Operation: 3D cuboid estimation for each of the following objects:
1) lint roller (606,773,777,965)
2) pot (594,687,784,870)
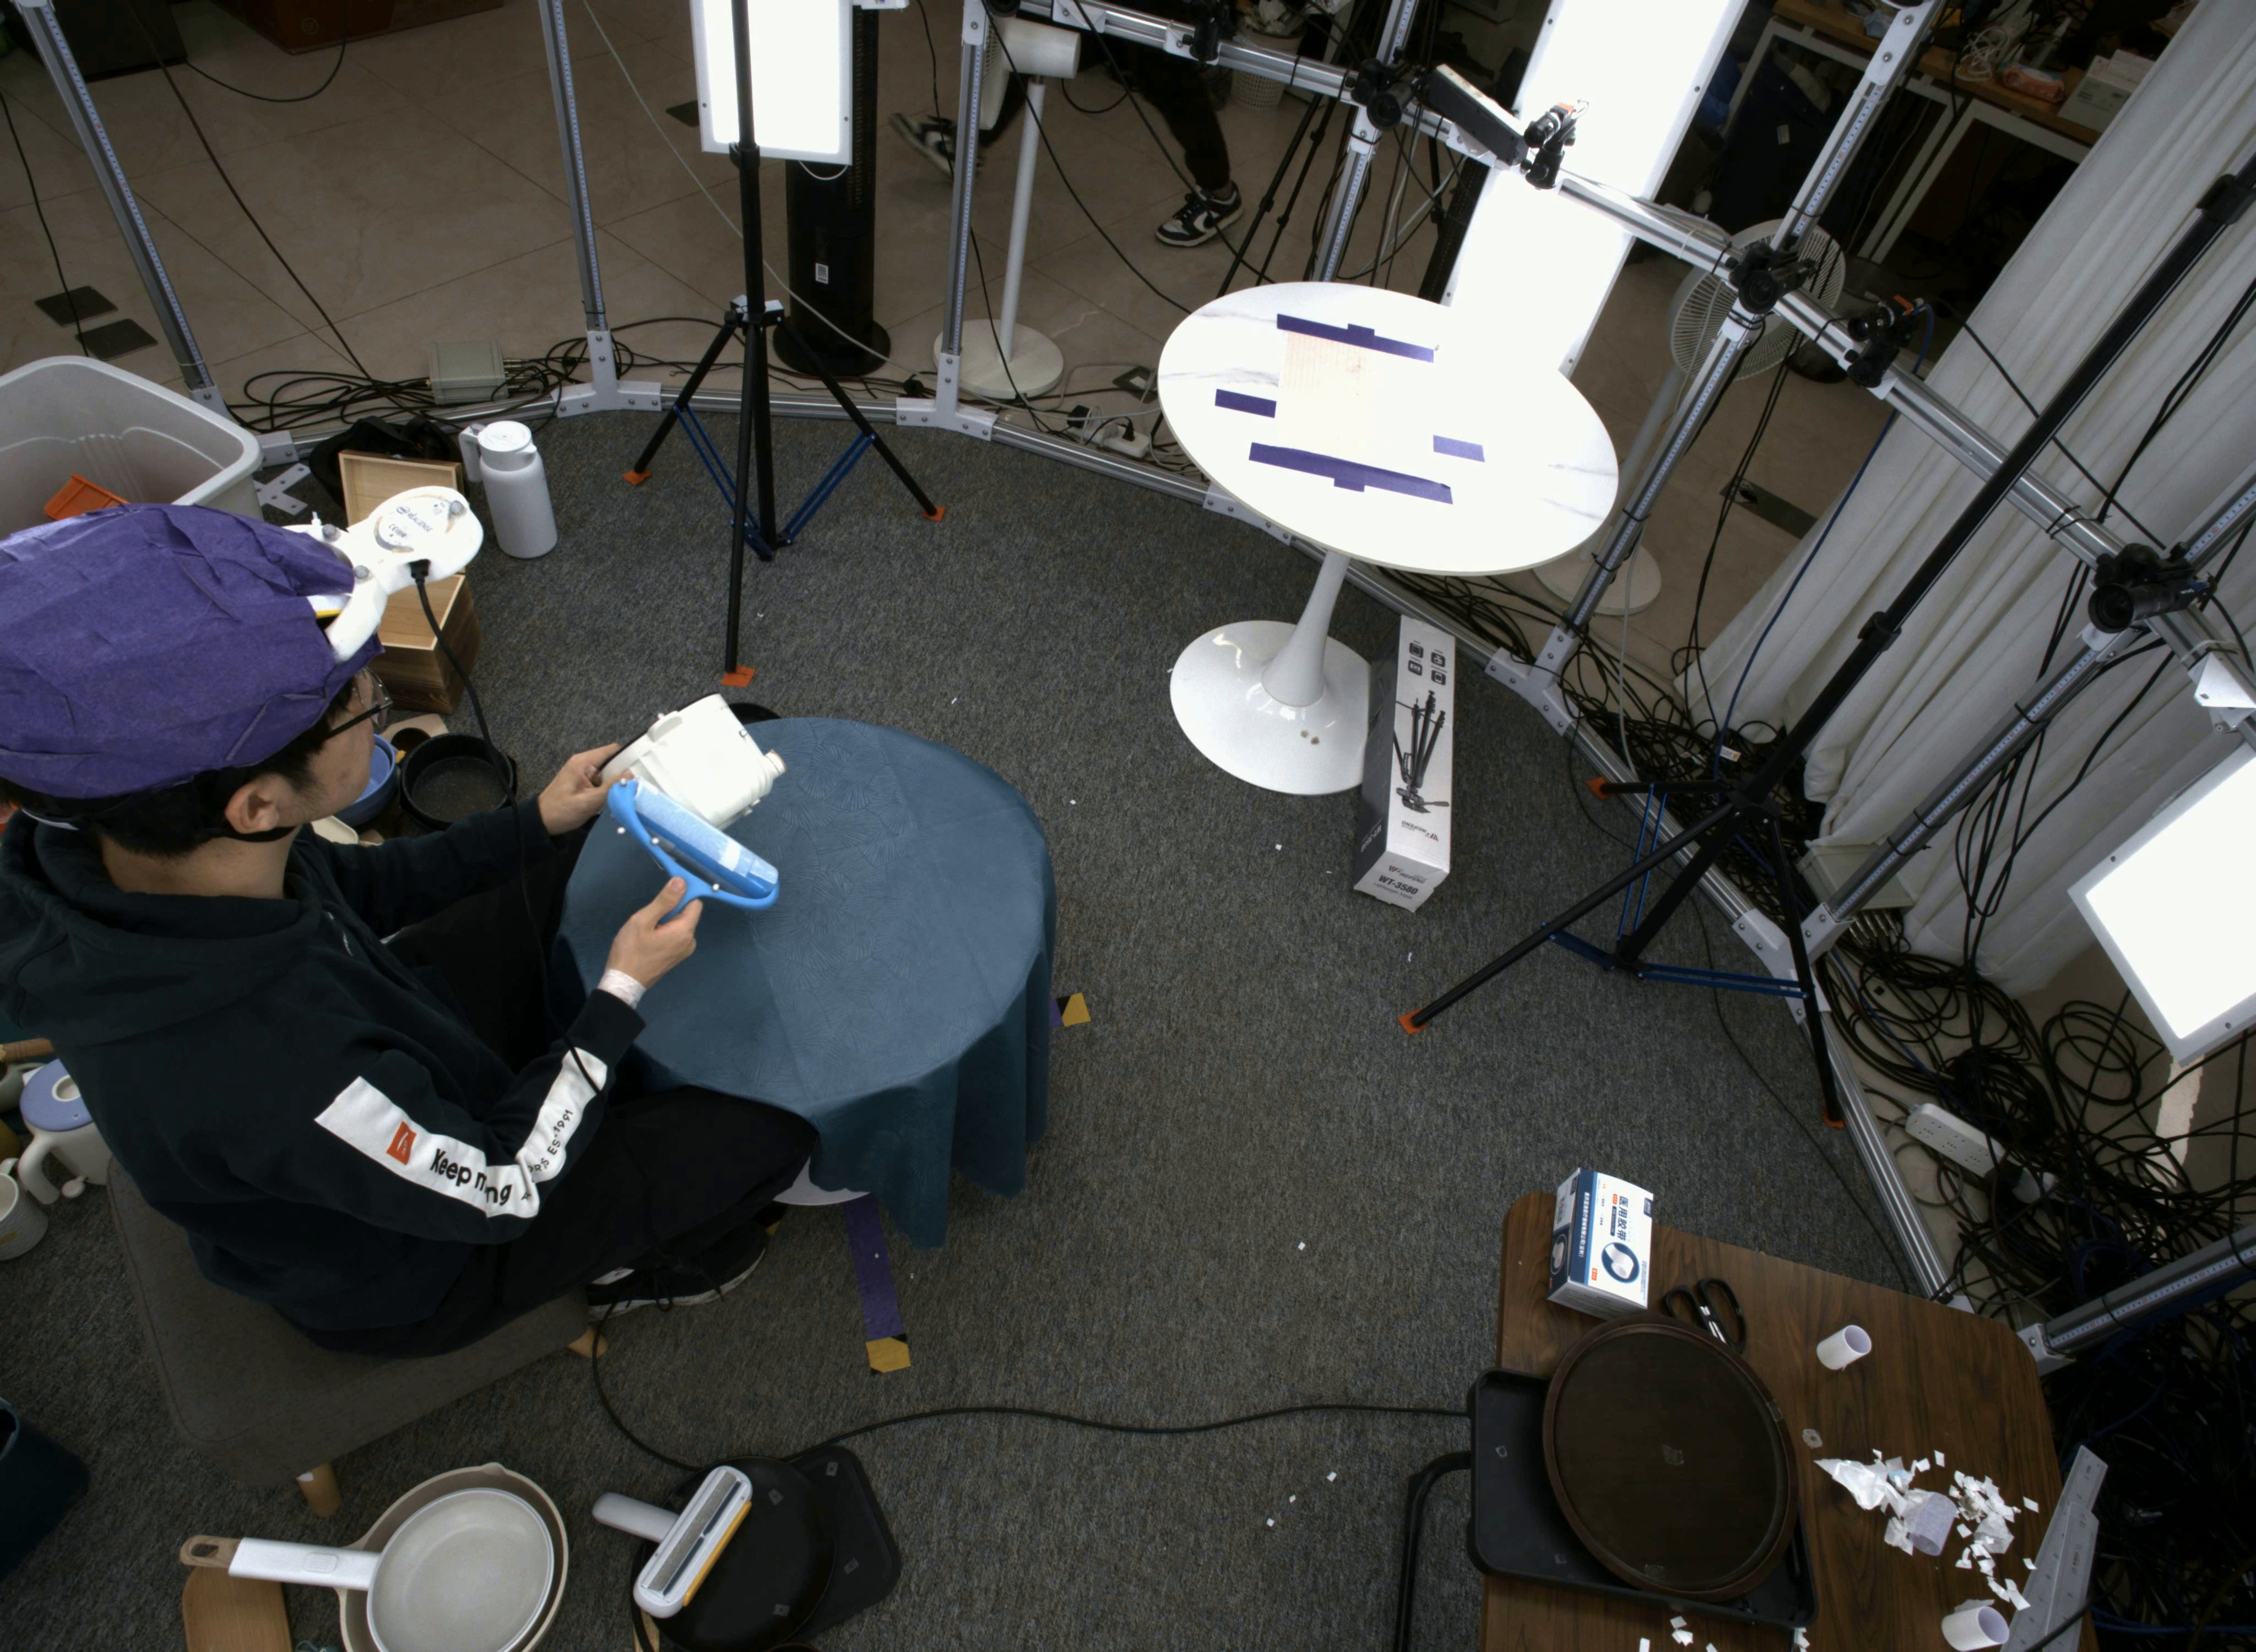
[{"bbox_3d":[-0.500,0.066,1.416,0.237,0.066,0.179,38,56,-40],"label":"lint roller"},{"bbox_3d":[-0.519,-0.059,1.532,0.190,0.236,0.145,-43,100,-24],"label":"pot"}]
